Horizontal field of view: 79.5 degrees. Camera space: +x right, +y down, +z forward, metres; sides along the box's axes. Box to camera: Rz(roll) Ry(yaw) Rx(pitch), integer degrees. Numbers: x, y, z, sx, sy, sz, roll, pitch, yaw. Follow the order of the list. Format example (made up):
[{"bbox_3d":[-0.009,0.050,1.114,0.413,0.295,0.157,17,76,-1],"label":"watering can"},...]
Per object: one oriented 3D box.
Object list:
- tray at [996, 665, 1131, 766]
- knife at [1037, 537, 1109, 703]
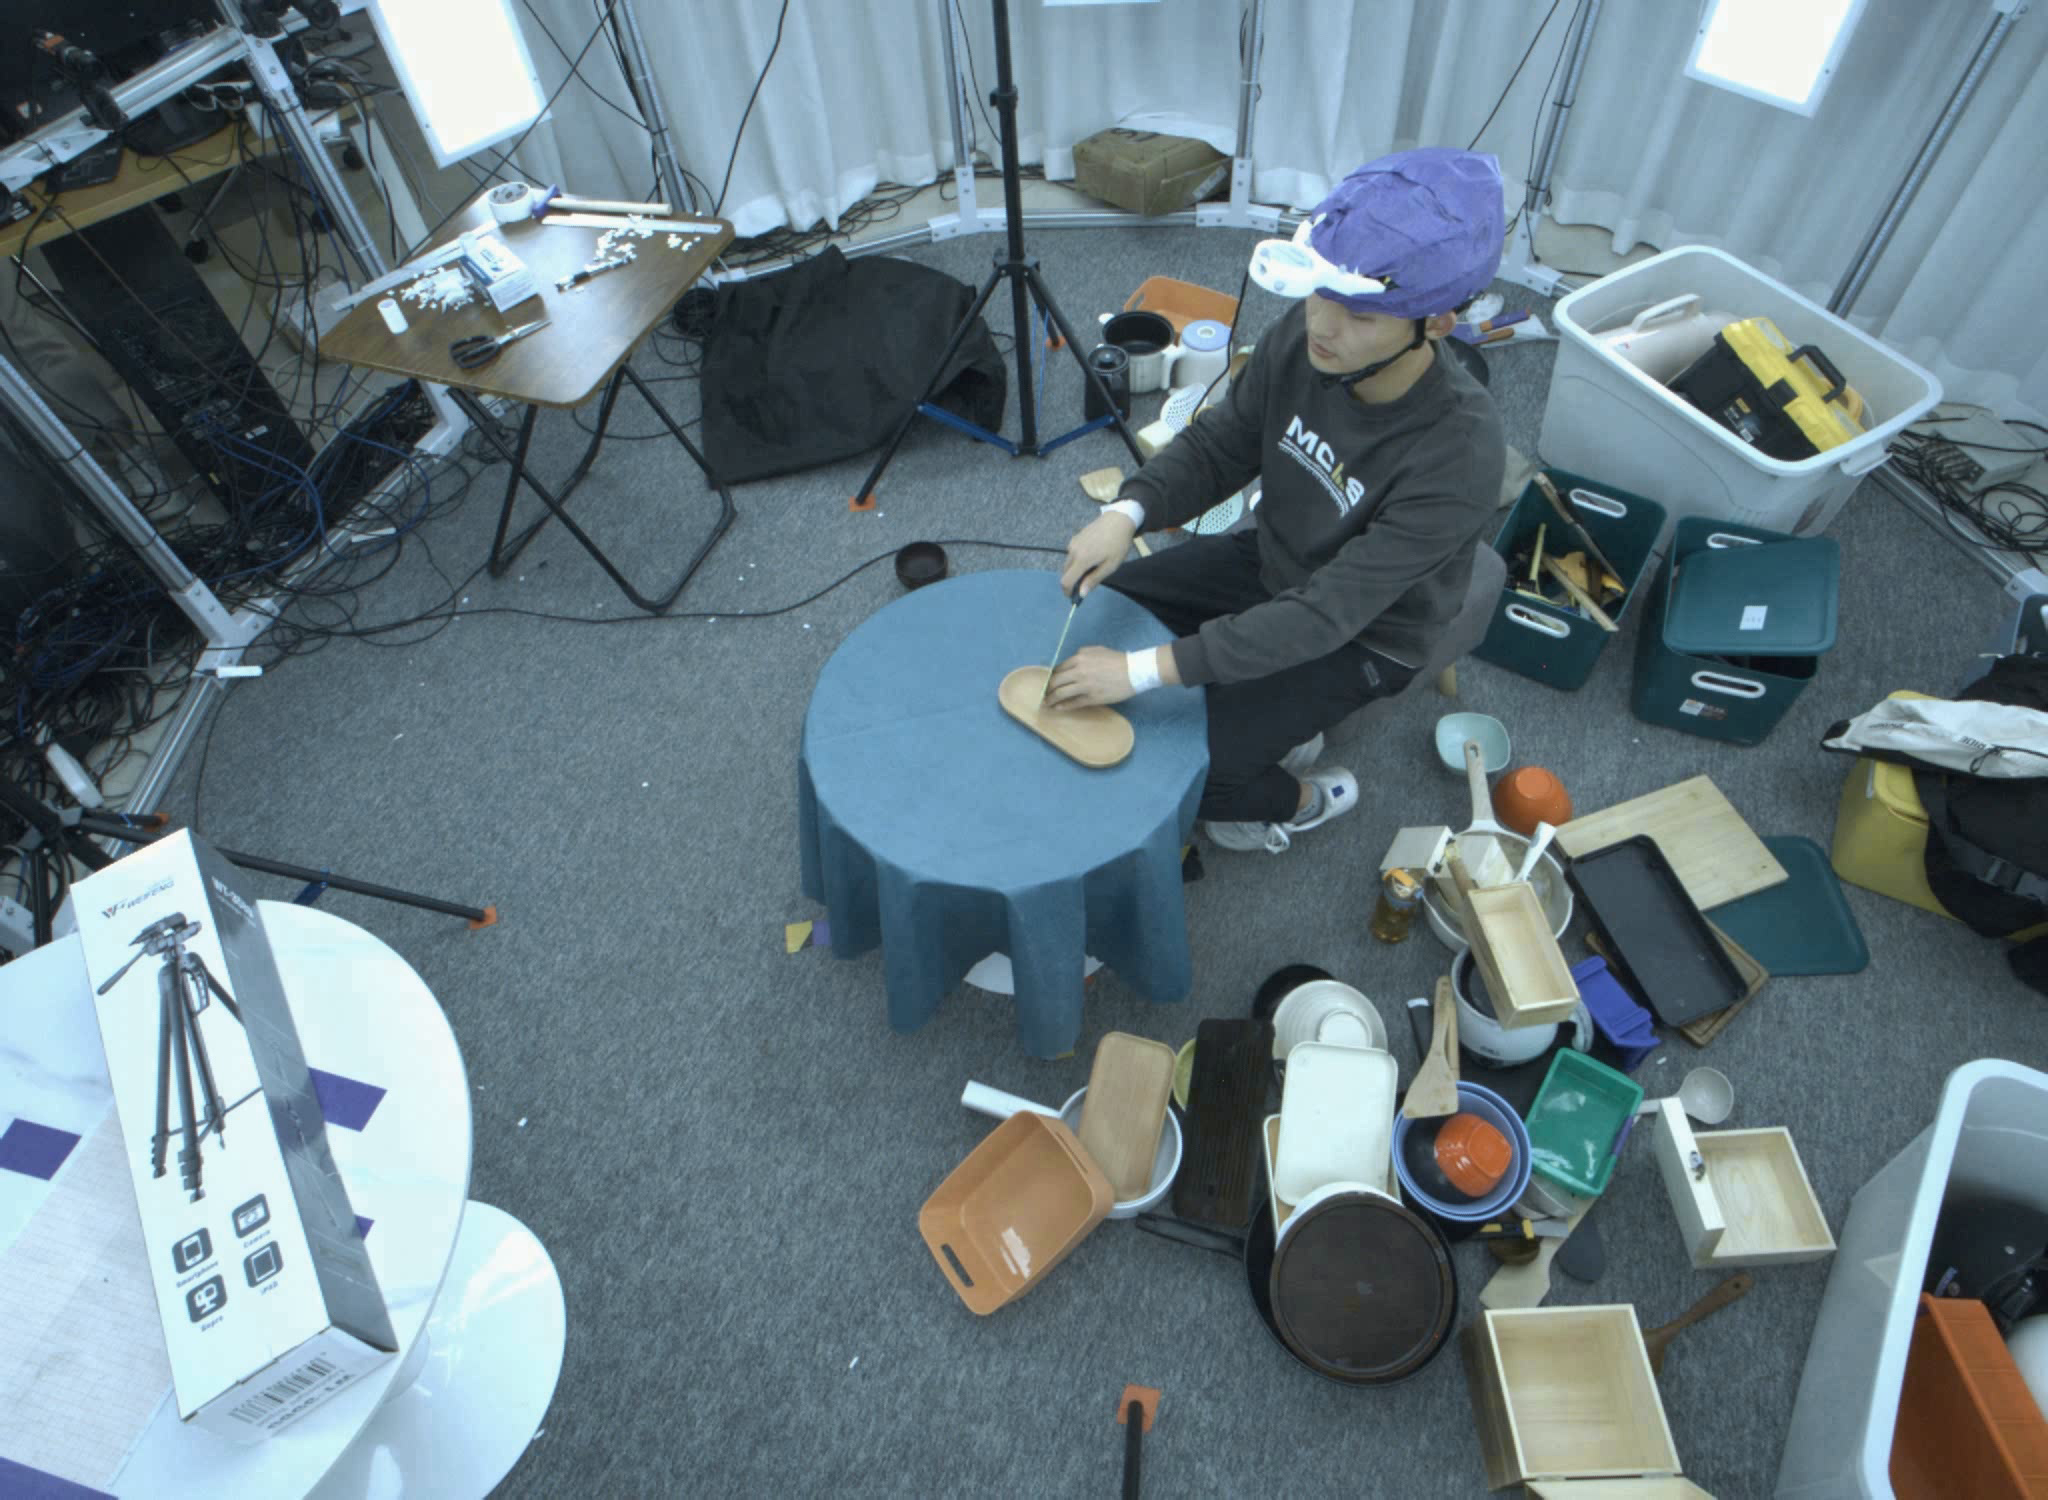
[{"bbox_3d":[0.057,-0.052,1.821,0.227,0.020,0.102,34,60,25],"label":"tray"},{"bbox_3d":[0.070,-0.196,1.848,0.027,0.081,0.289,22,71,-1],"label":"knife"}]
